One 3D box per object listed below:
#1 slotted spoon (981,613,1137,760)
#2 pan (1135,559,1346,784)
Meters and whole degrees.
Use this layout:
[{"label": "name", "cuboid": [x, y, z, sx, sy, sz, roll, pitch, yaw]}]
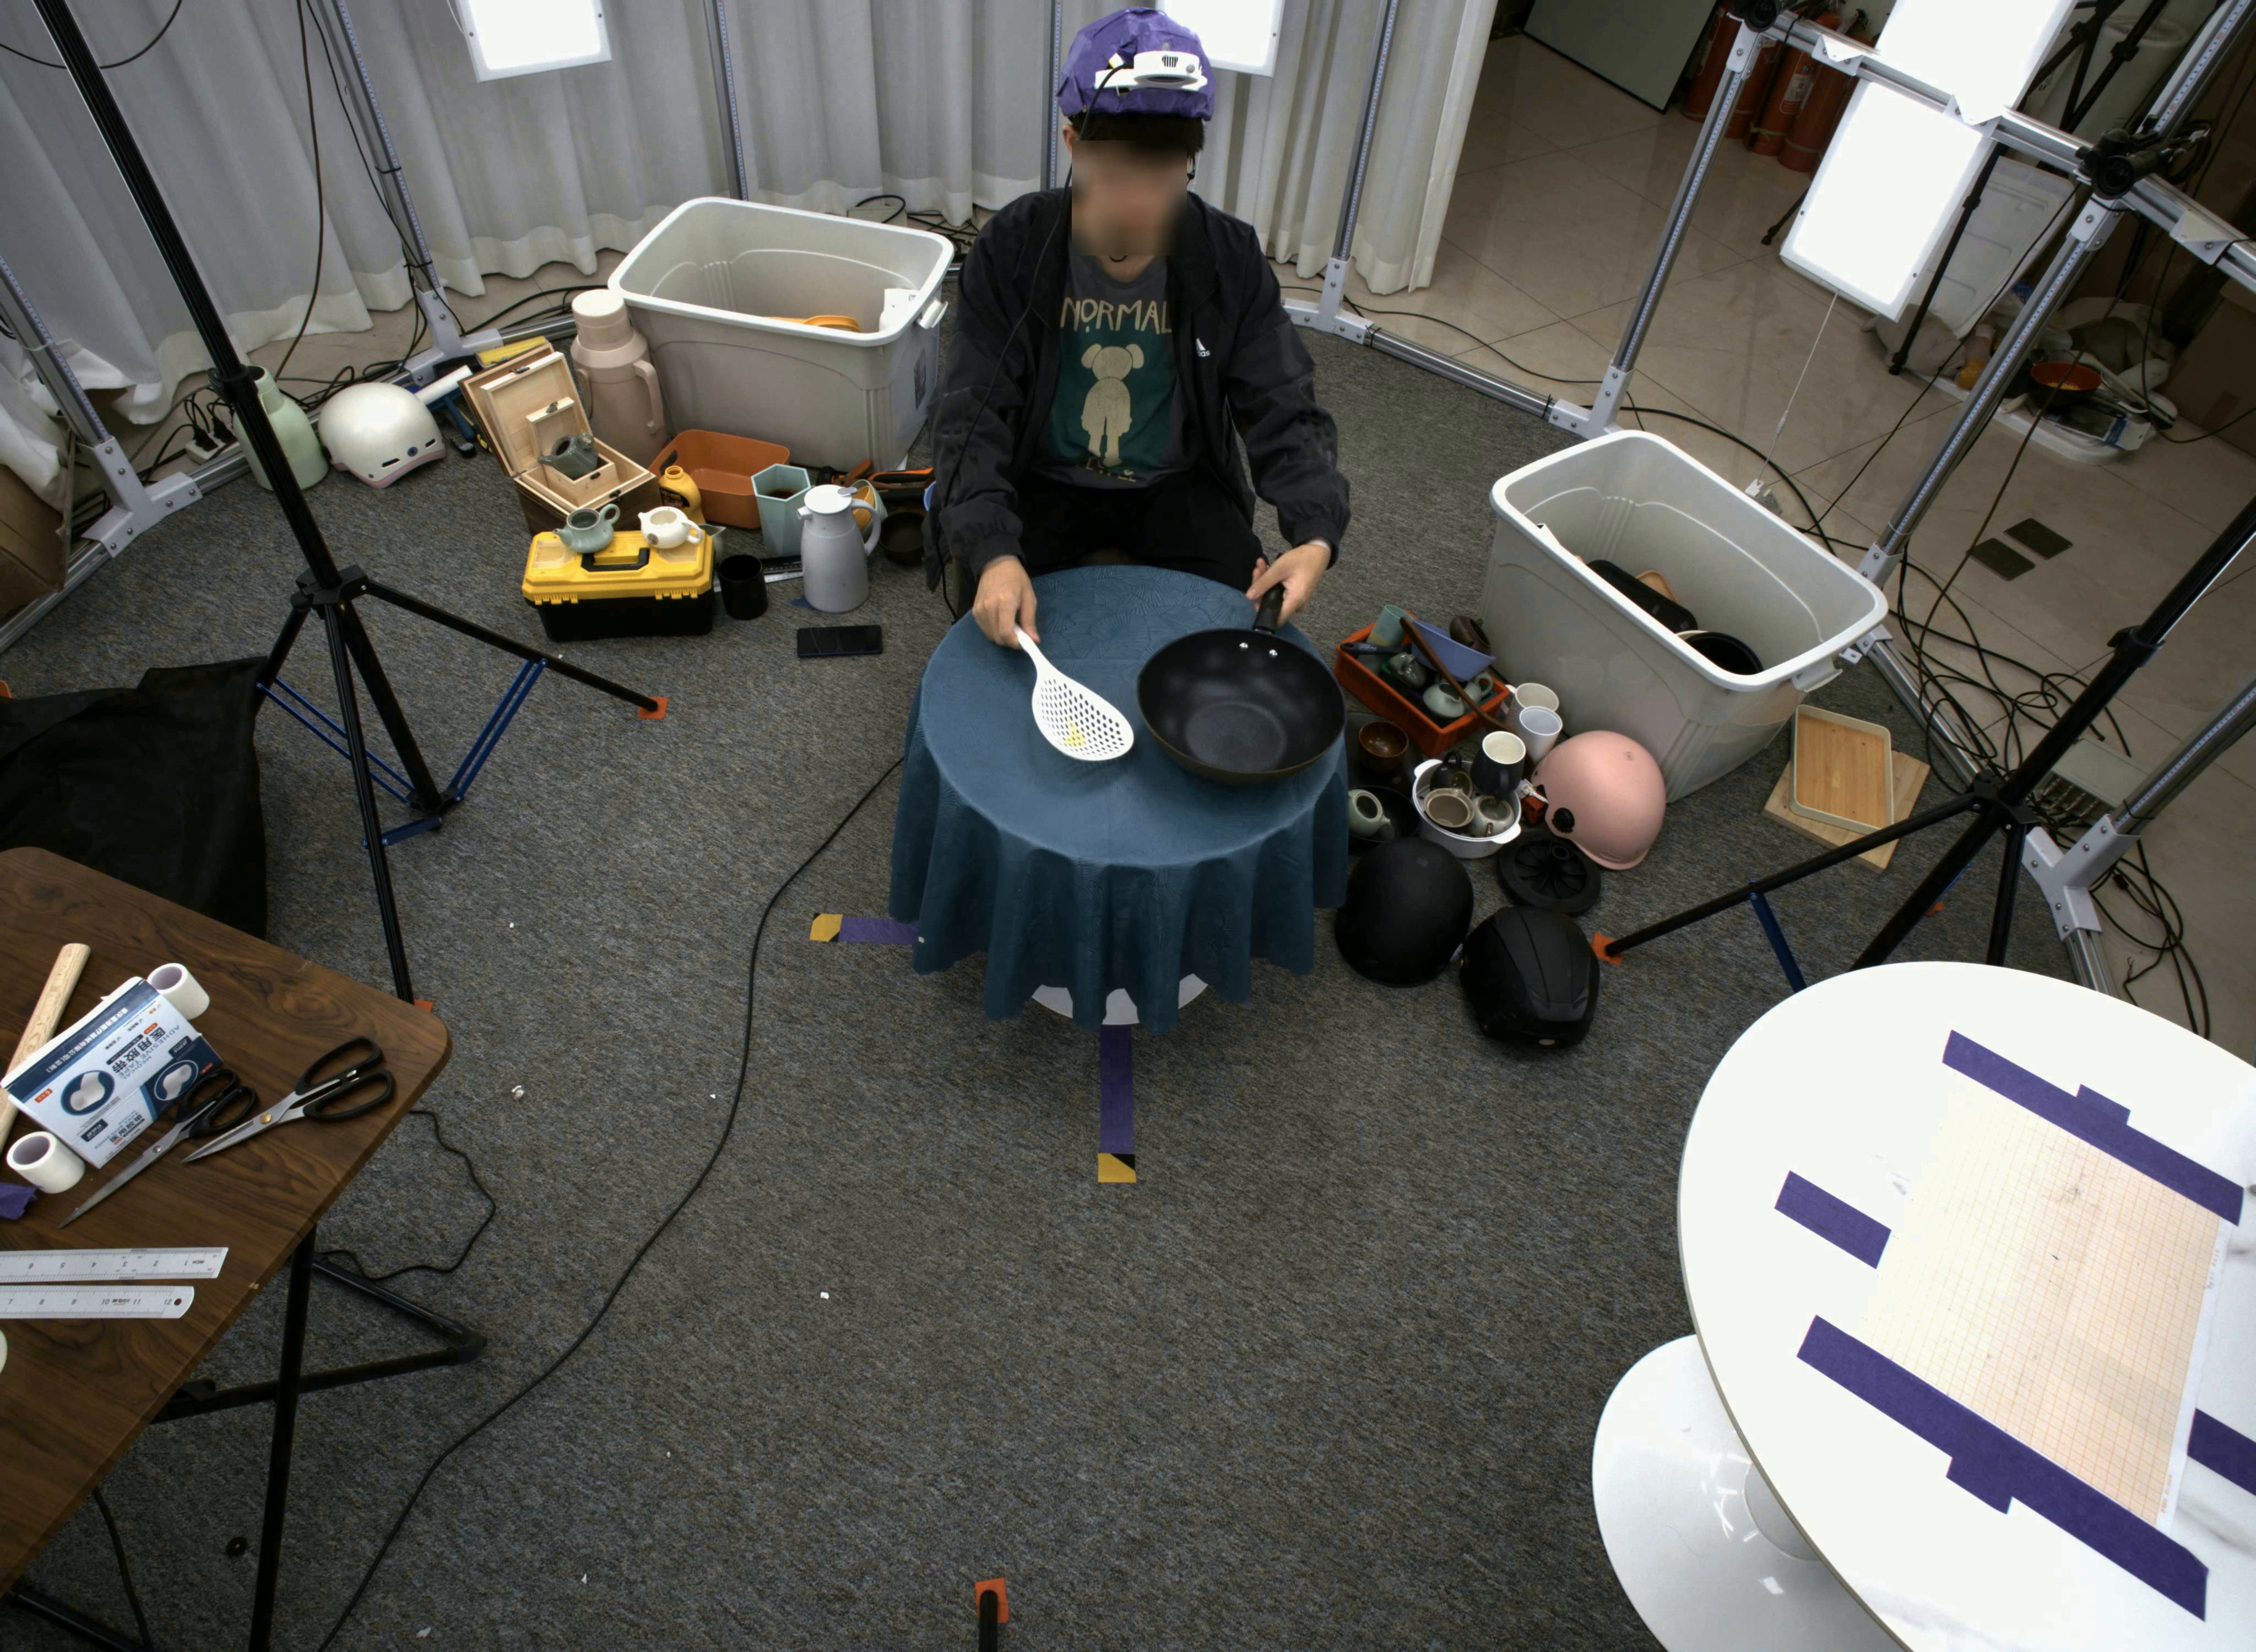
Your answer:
[{"label": "slotted spoon", "cuboid": [-0.114, -0.204, 1.798, 0.137, 0.049, 0.355, -13, 53, -31]}, {"label": "pan", "cuboid": [0.174, -0.216, 1.812, 0.289, 0.085, 0.473, 14, 48, 8]}]
